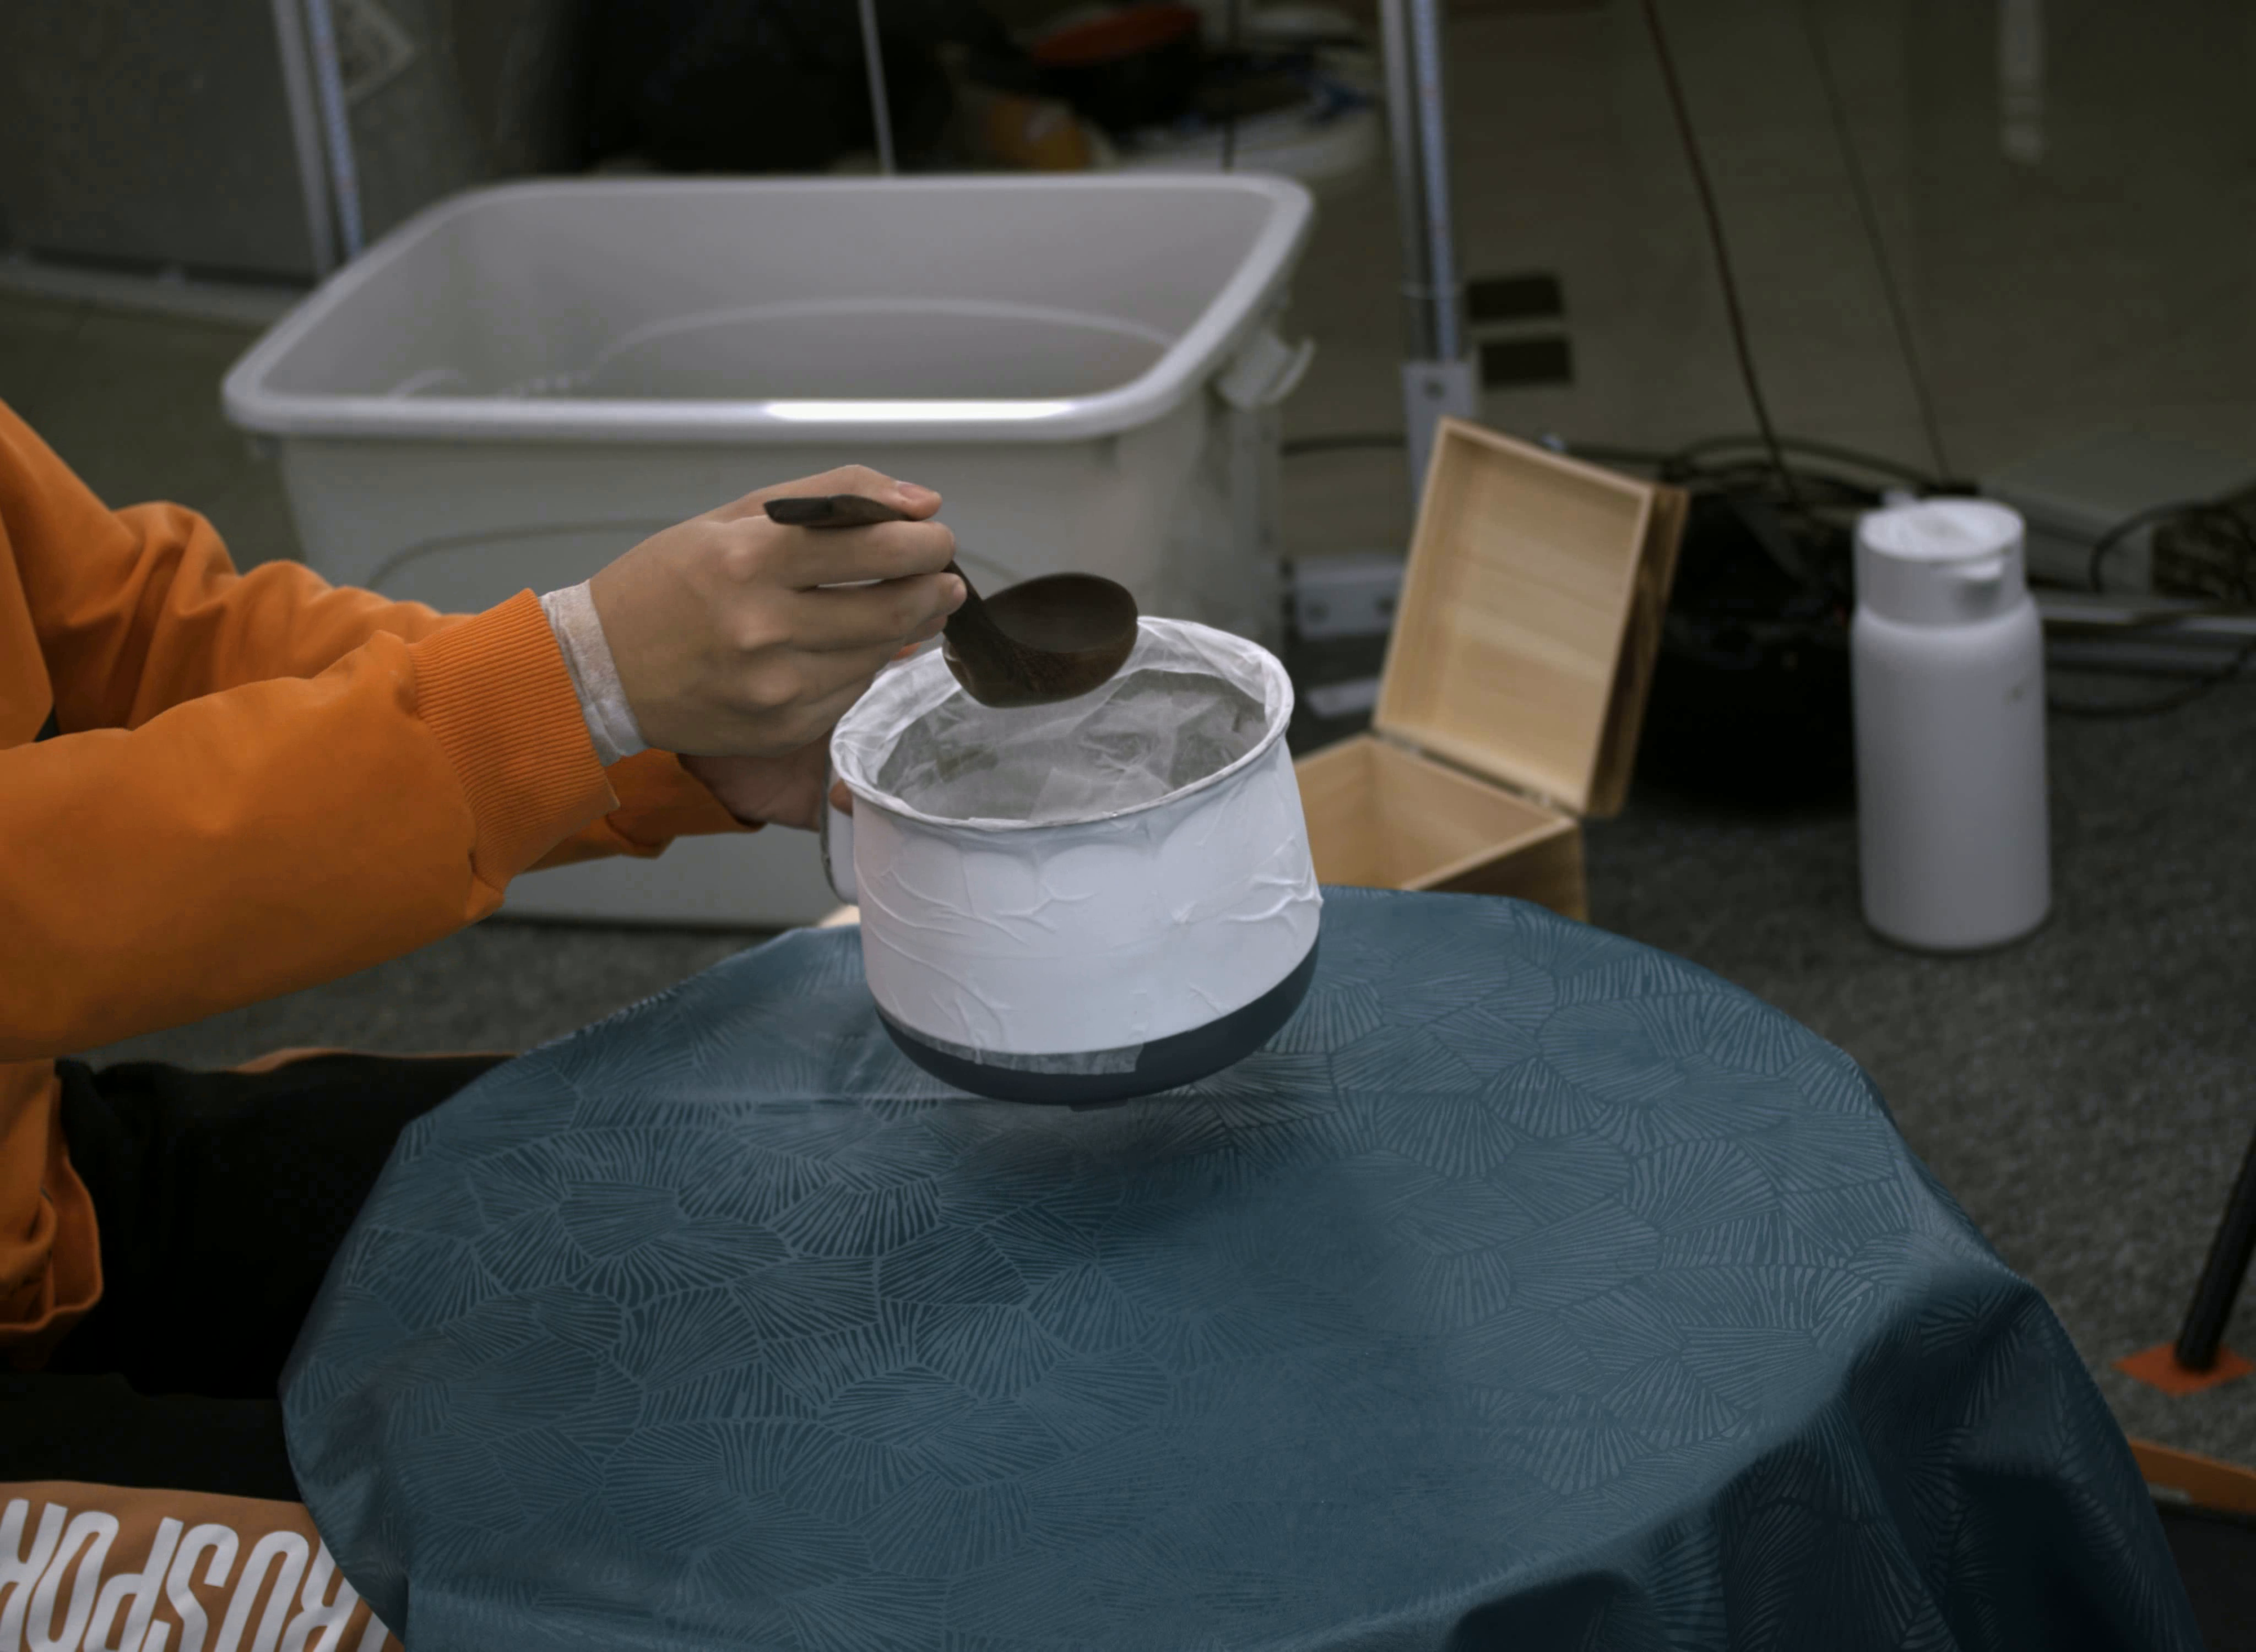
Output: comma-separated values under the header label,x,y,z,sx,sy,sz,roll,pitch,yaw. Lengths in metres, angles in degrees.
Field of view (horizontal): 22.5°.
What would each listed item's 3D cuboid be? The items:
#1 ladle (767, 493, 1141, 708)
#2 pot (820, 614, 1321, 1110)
label,x,y,z,sx,sy,sz,roll,pitch,yaw
ladle,-0.066,-0.100,1.982,0.076,0.071,0.276,-8,-18,17
pot,-0.037,0.008,2.181,0.232,0.139,0.177,20,38,41
